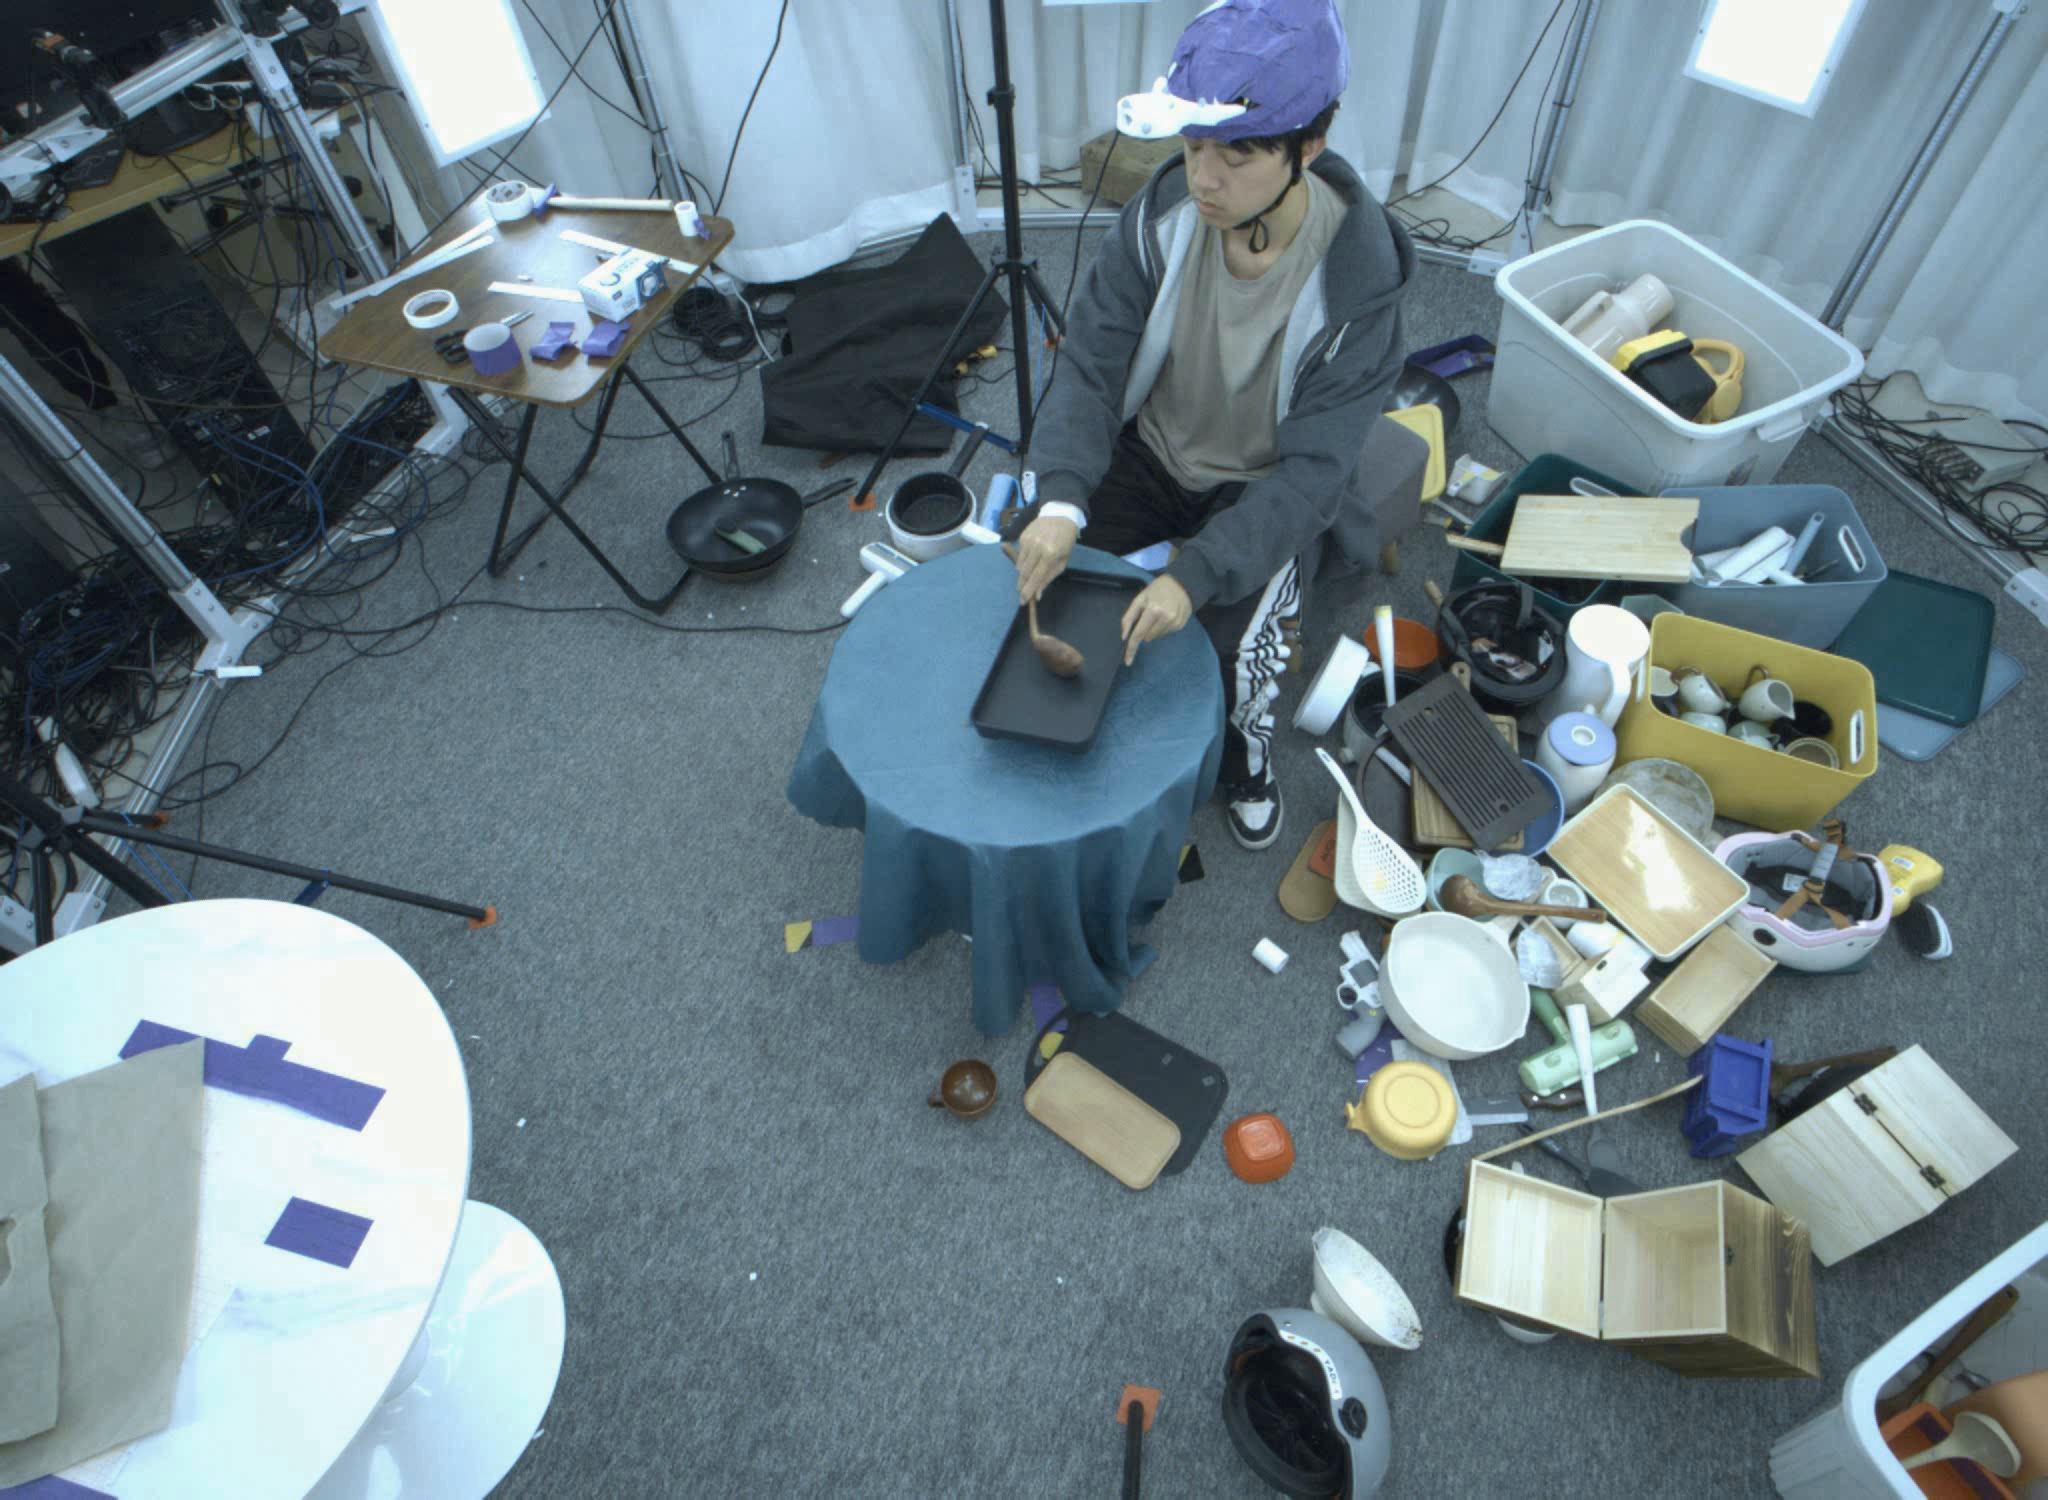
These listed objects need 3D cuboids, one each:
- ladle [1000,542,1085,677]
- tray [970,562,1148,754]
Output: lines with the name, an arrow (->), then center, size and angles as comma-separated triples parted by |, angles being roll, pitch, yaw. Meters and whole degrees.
ladle -> 0.025, -0.215, 1.812 | 0.065, 0.077, 0.256 | -18, 61, 1
tray -> 0.056, -0.141, 1.797 | 0.182, 0.037, 0.317 | 11, 59, 18
